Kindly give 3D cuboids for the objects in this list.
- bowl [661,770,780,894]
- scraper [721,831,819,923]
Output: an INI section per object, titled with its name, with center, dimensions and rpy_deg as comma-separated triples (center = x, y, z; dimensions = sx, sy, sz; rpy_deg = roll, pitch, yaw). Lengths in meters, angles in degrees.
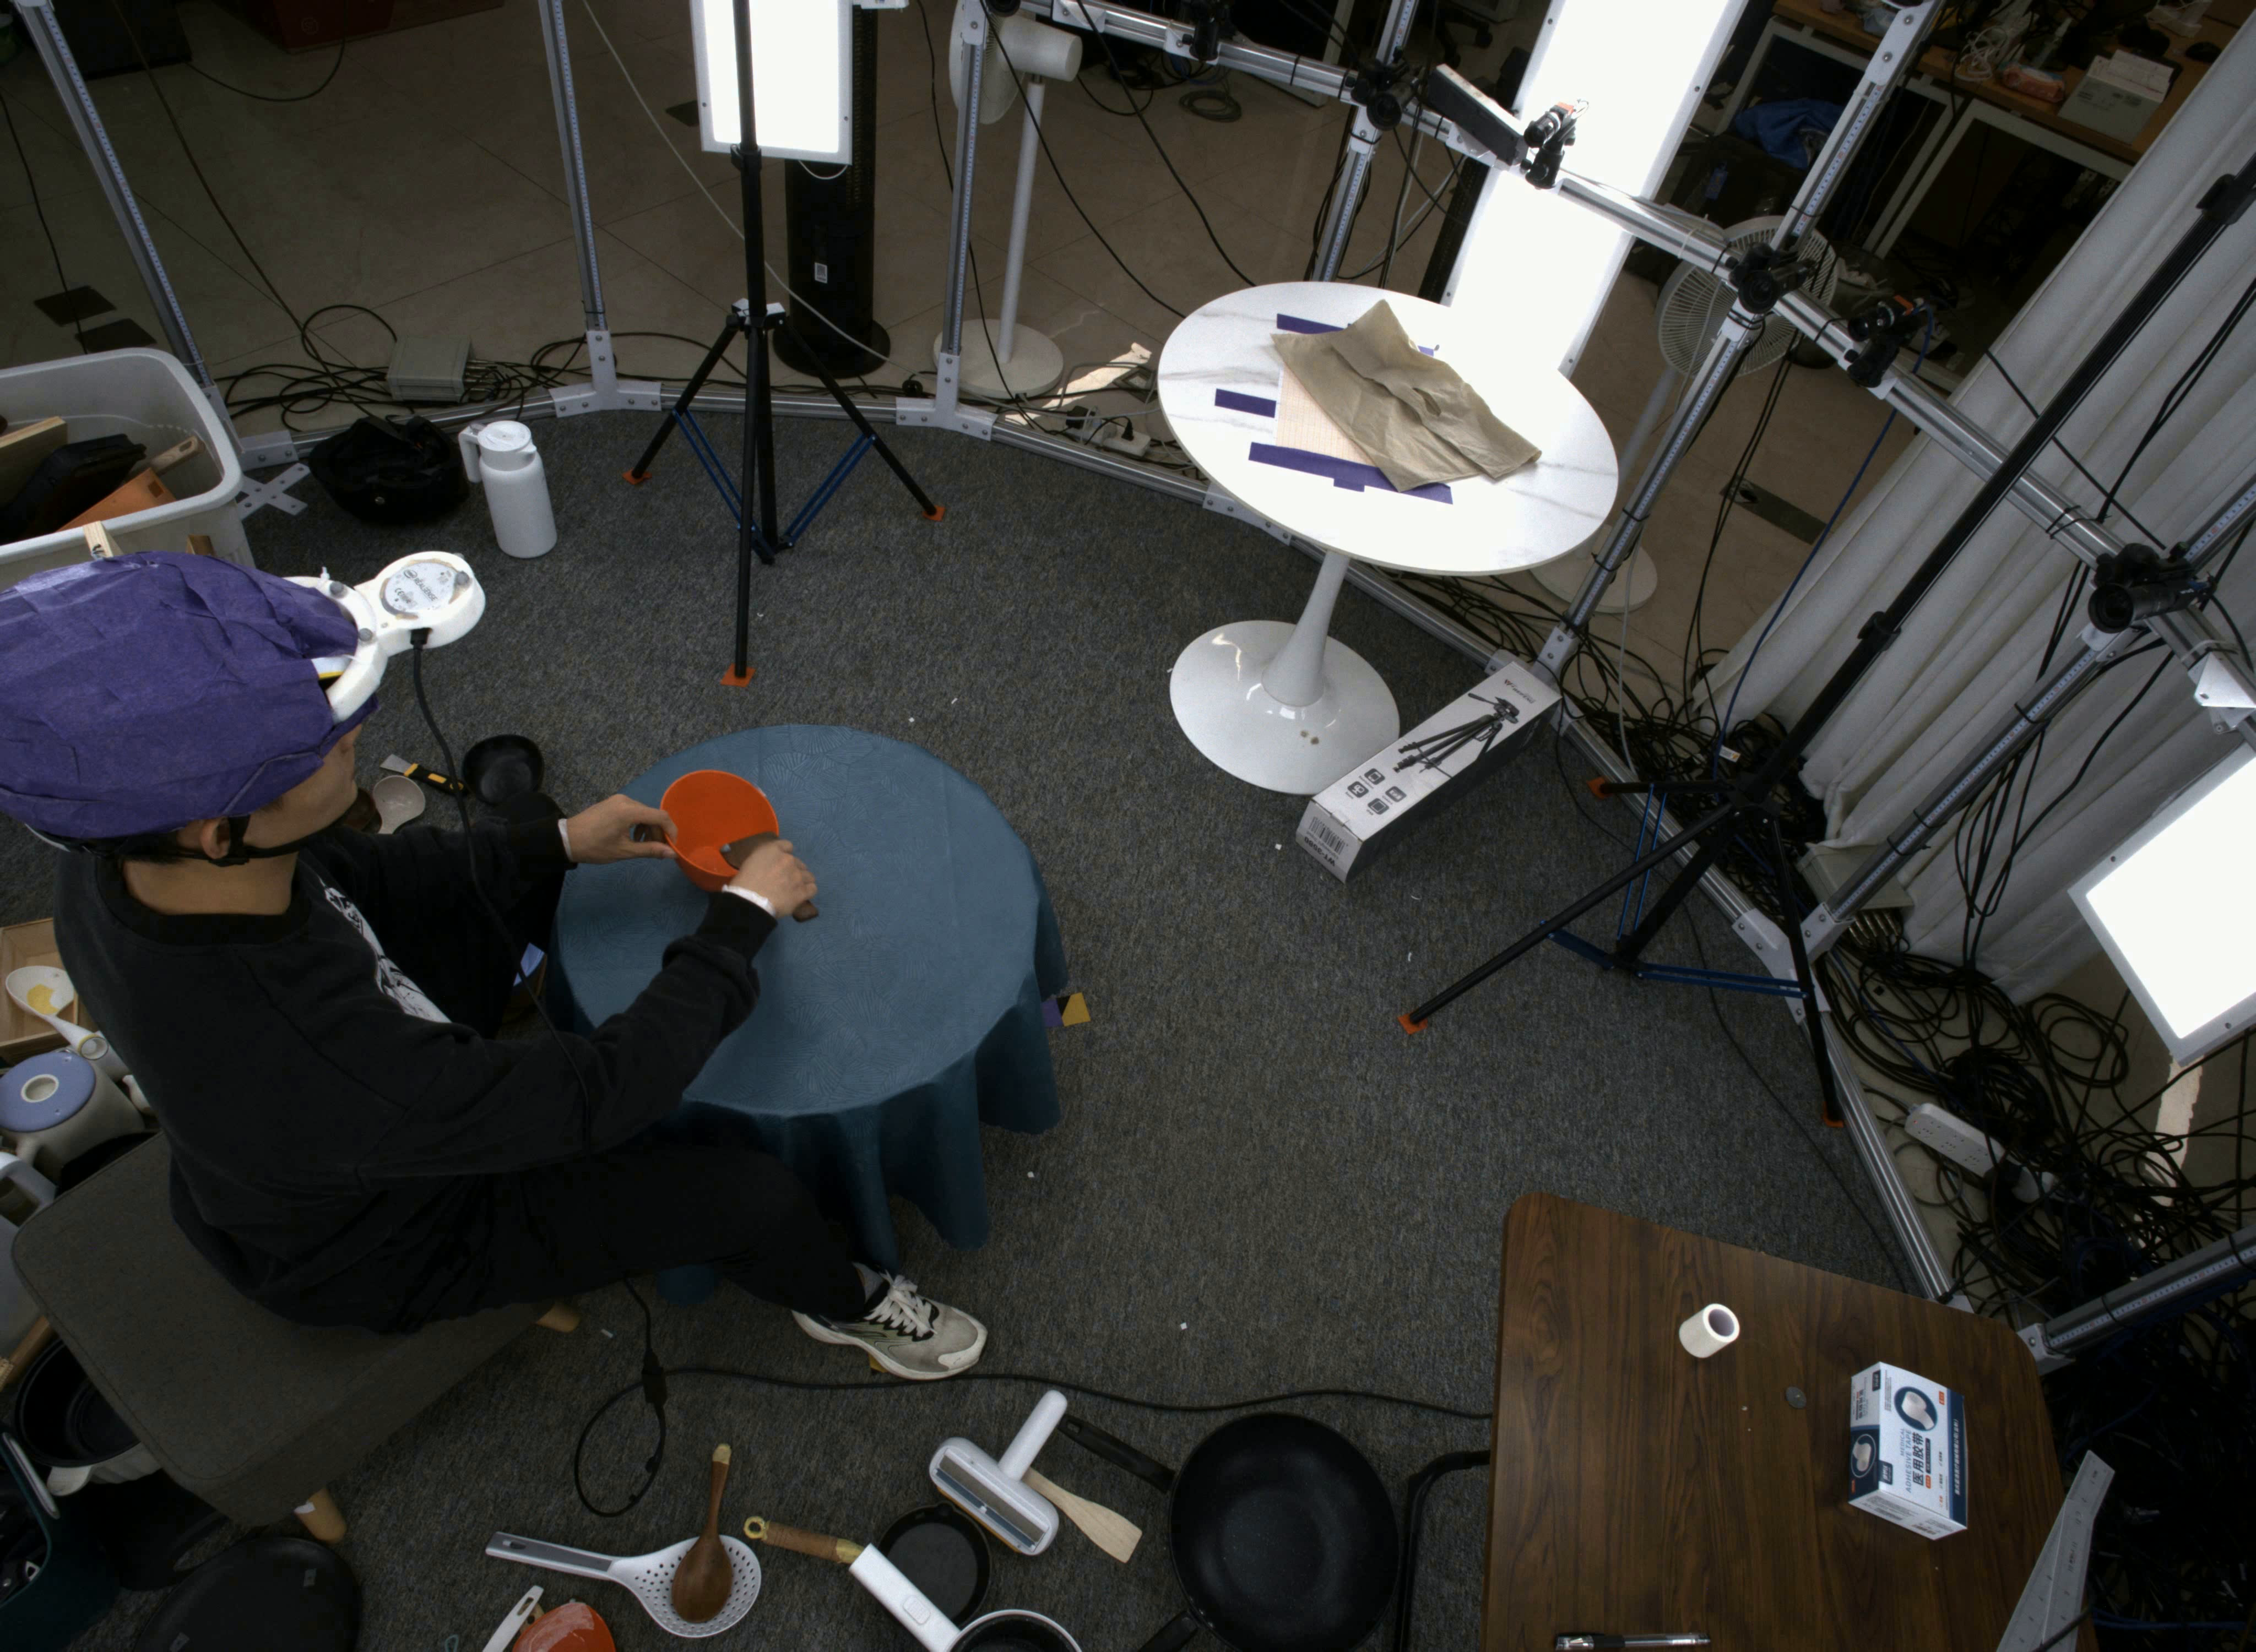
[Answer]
[bowl]
center = -0.516, 0.018, 1.617
dimensions = 0.150, 0.105, 0.145
rpy_deg = 18, 46, -18
[scraper]
center = -0.413, 0.060, 1.525
dimensions = 0.076, 0.011, 0.203
rpy_deg = -20, 36, -28
